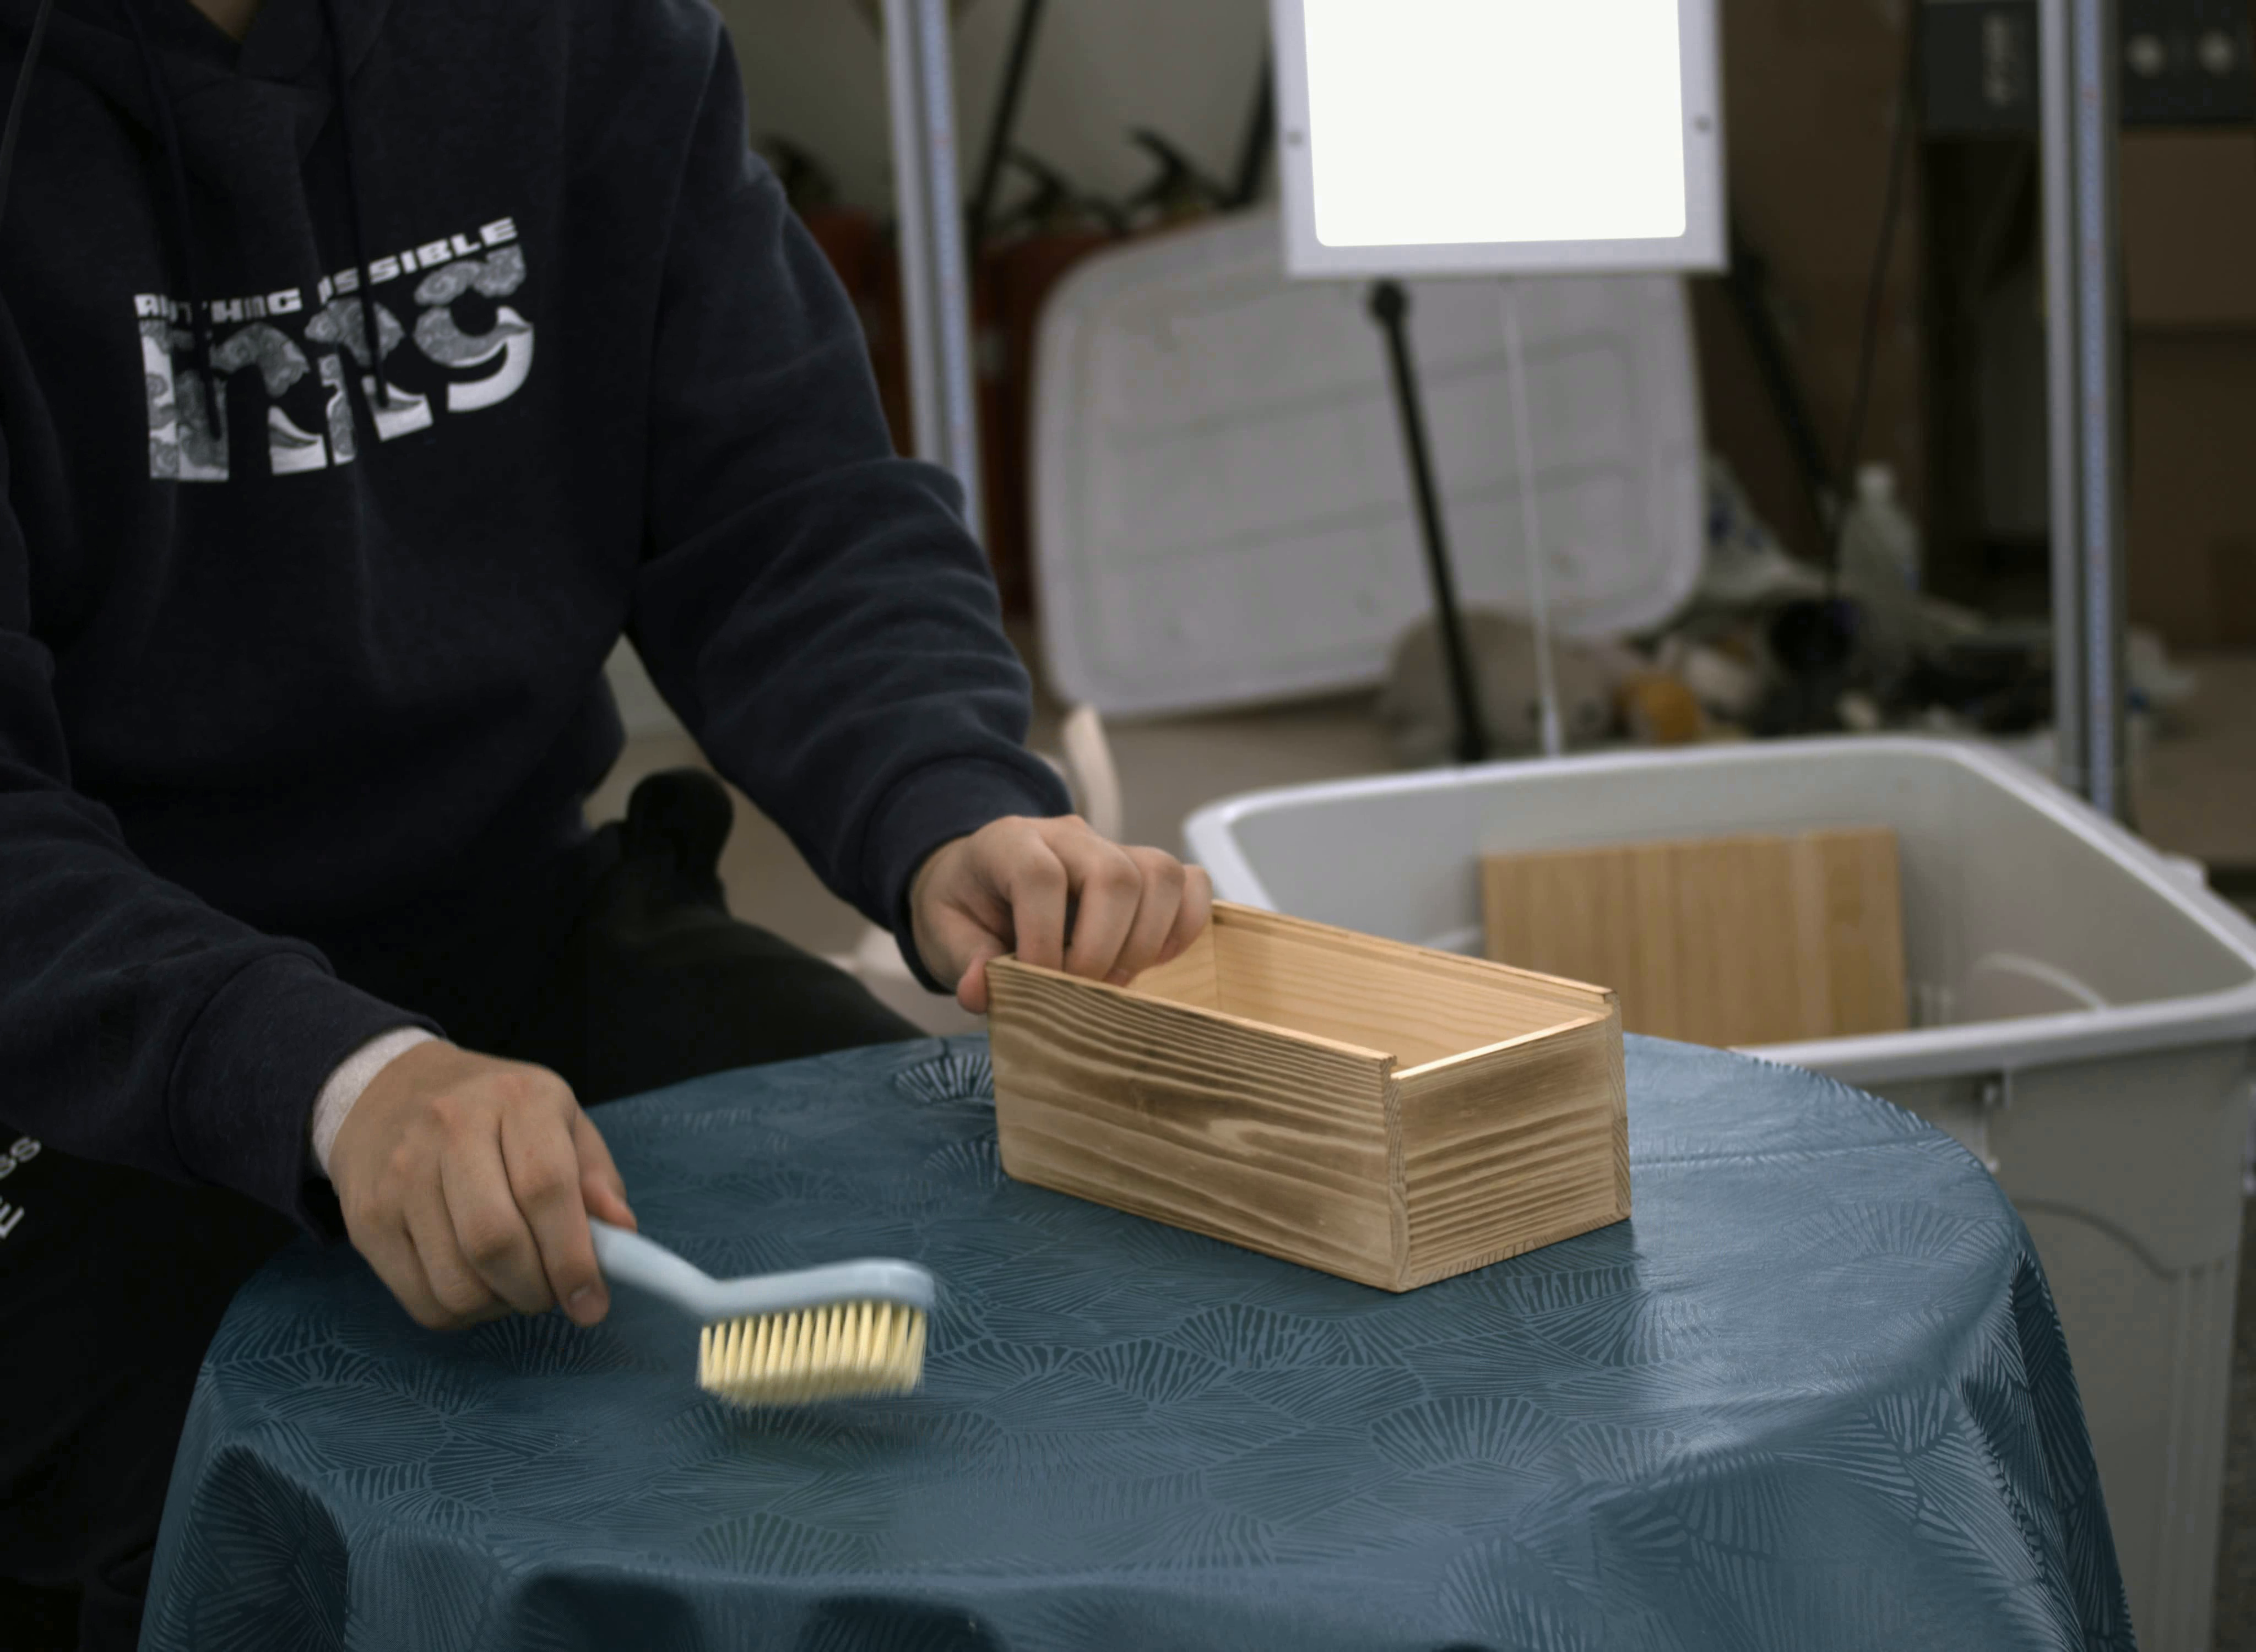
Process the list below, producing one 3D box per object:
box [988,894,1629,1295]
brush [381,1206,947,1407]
[{"bbox_3d":[0.059,0.087,1.868,0.105,0.080,0.216,-14,17,-36],"label":"box"},{"bbox_3d":[-0.151,0.151,1.728,0.233,0.049,0.037,6,-14,40],"label":"brush"}]
